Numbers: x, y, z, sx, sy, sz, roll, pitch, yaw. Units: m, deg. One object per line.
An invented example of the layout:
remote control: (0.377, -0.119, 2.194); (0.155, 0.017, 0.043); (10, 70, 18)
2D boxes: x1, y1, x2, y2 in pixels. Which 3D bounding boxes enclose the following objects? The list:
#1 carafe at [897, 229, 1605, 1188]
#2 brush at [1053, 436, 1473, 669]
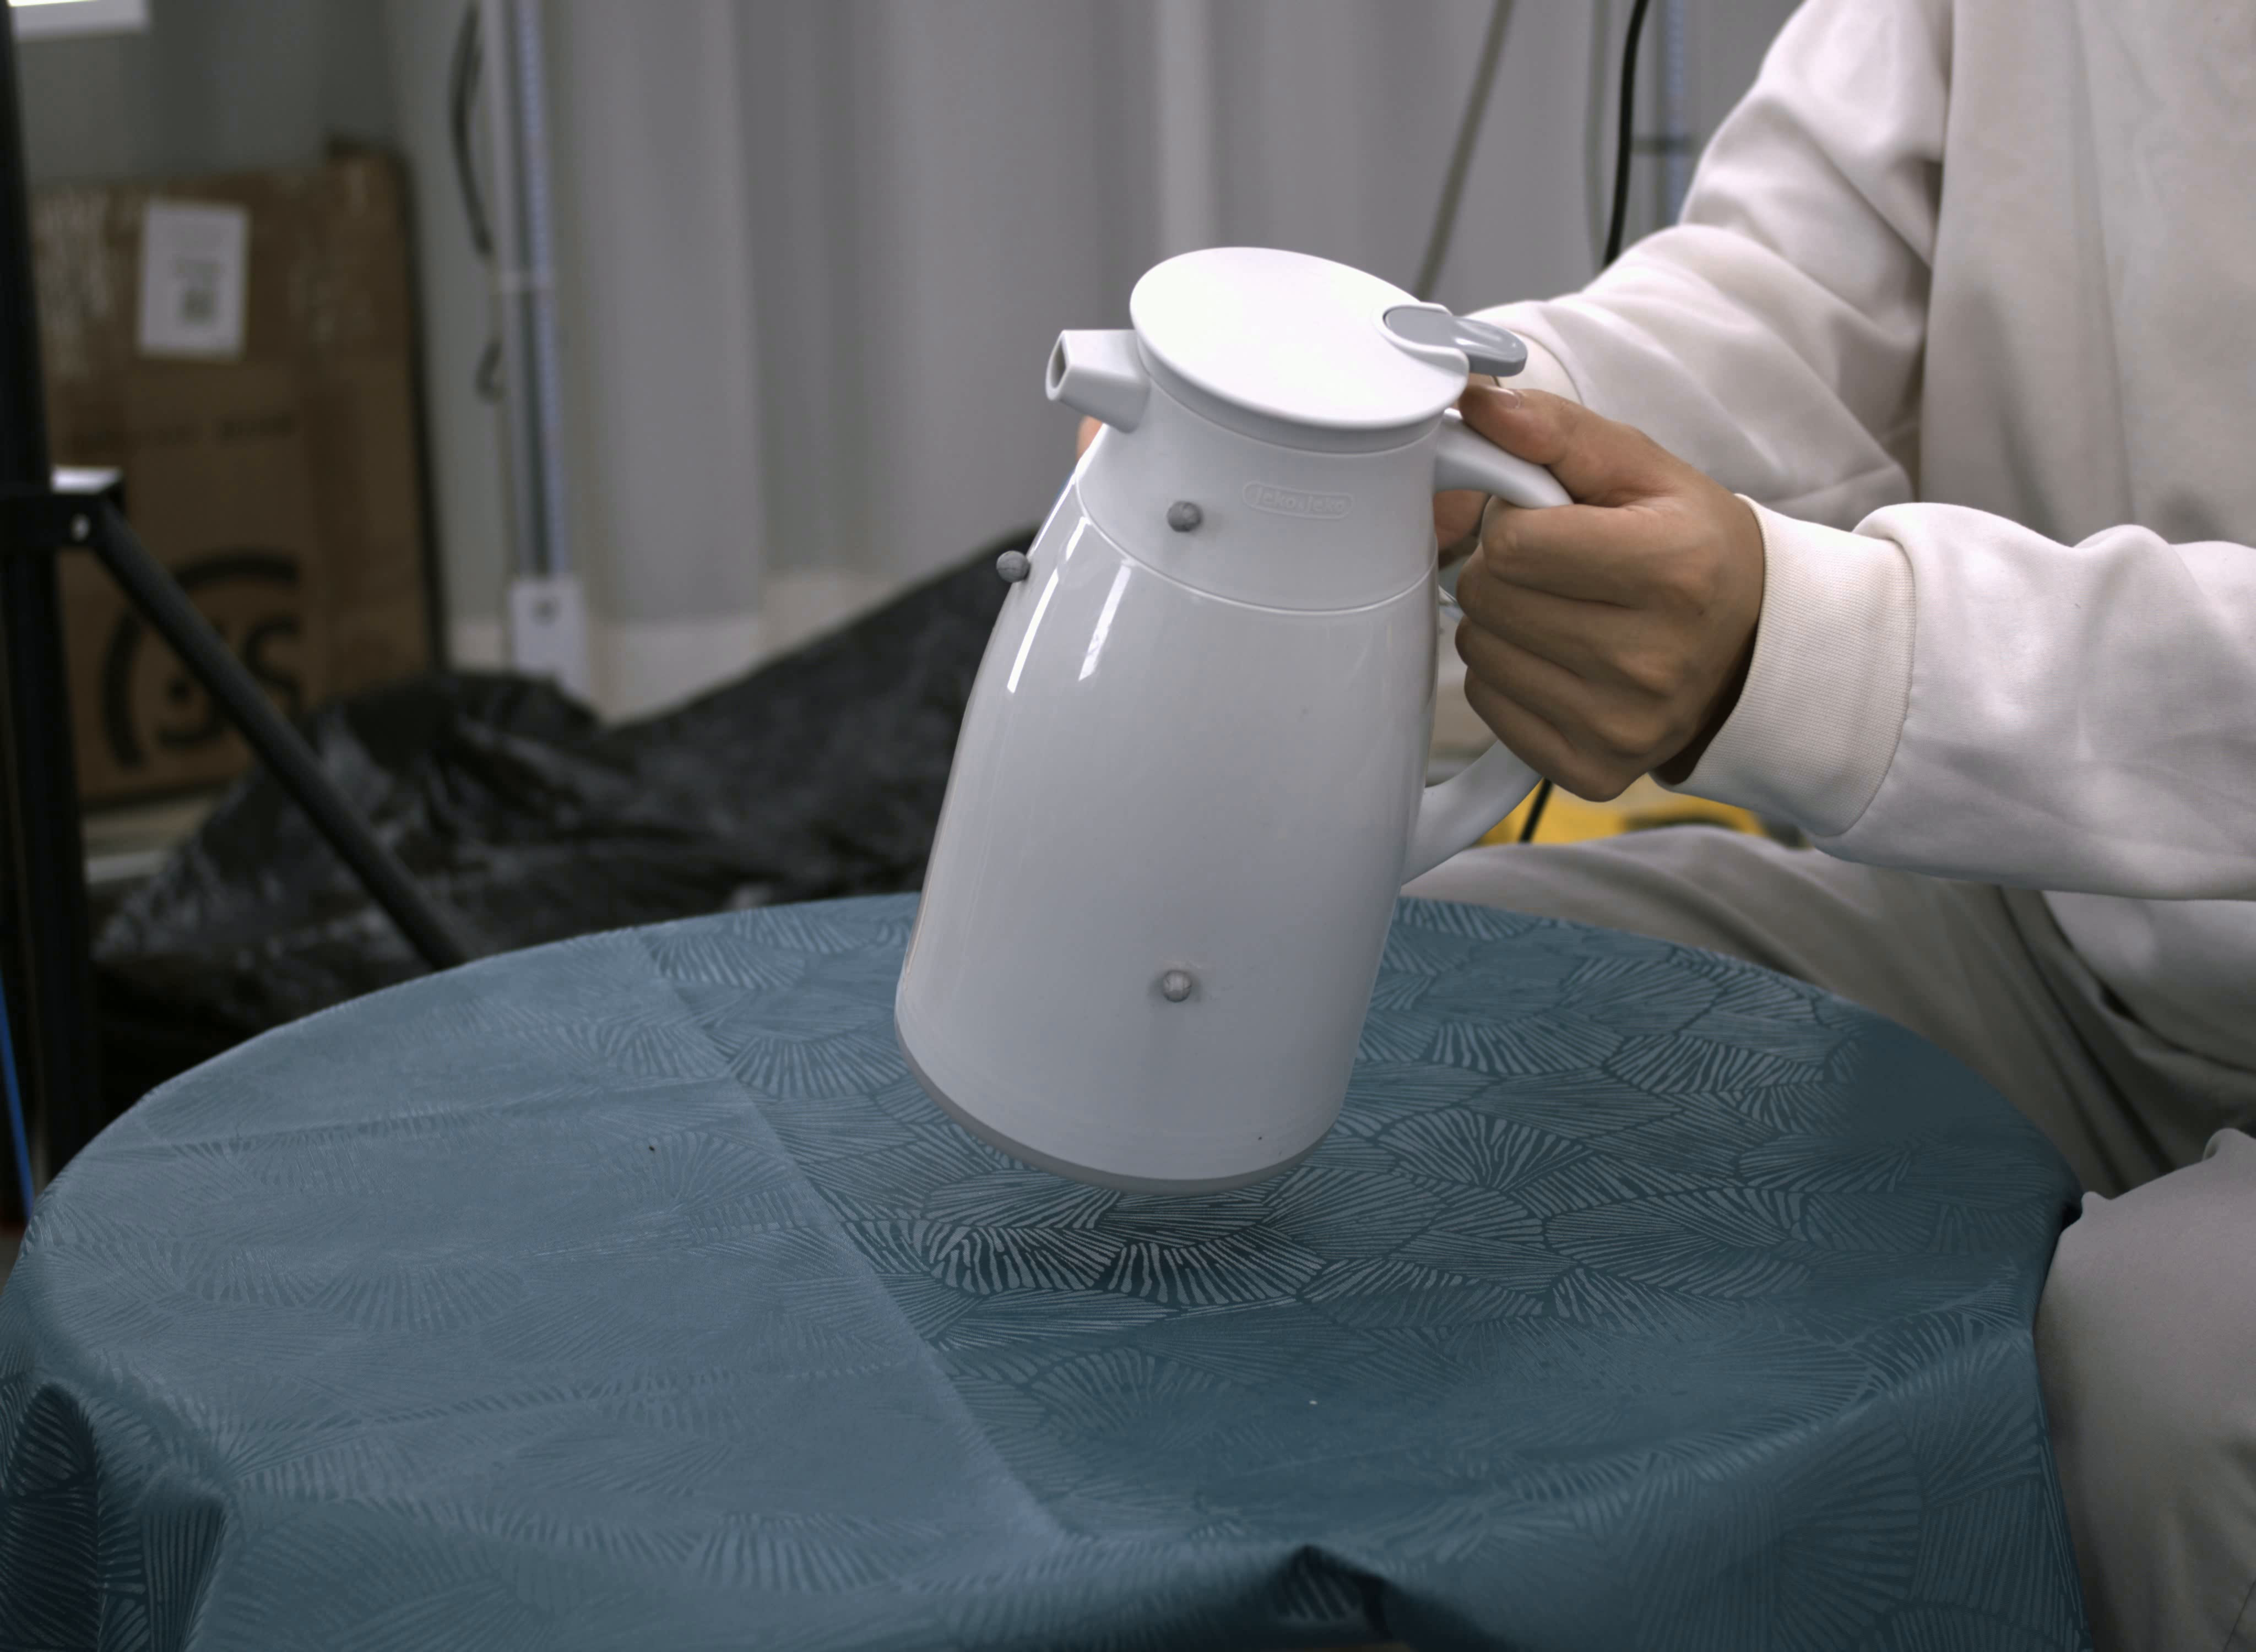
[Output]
carafe: (0.041, -0.037, 1.463); (0.165, 0.249, 0.134); (7, 33, -11)
brush: (0.032, -0.086, 1.559); (0.138, 0.085, 0.065); (26, 24, -42)
